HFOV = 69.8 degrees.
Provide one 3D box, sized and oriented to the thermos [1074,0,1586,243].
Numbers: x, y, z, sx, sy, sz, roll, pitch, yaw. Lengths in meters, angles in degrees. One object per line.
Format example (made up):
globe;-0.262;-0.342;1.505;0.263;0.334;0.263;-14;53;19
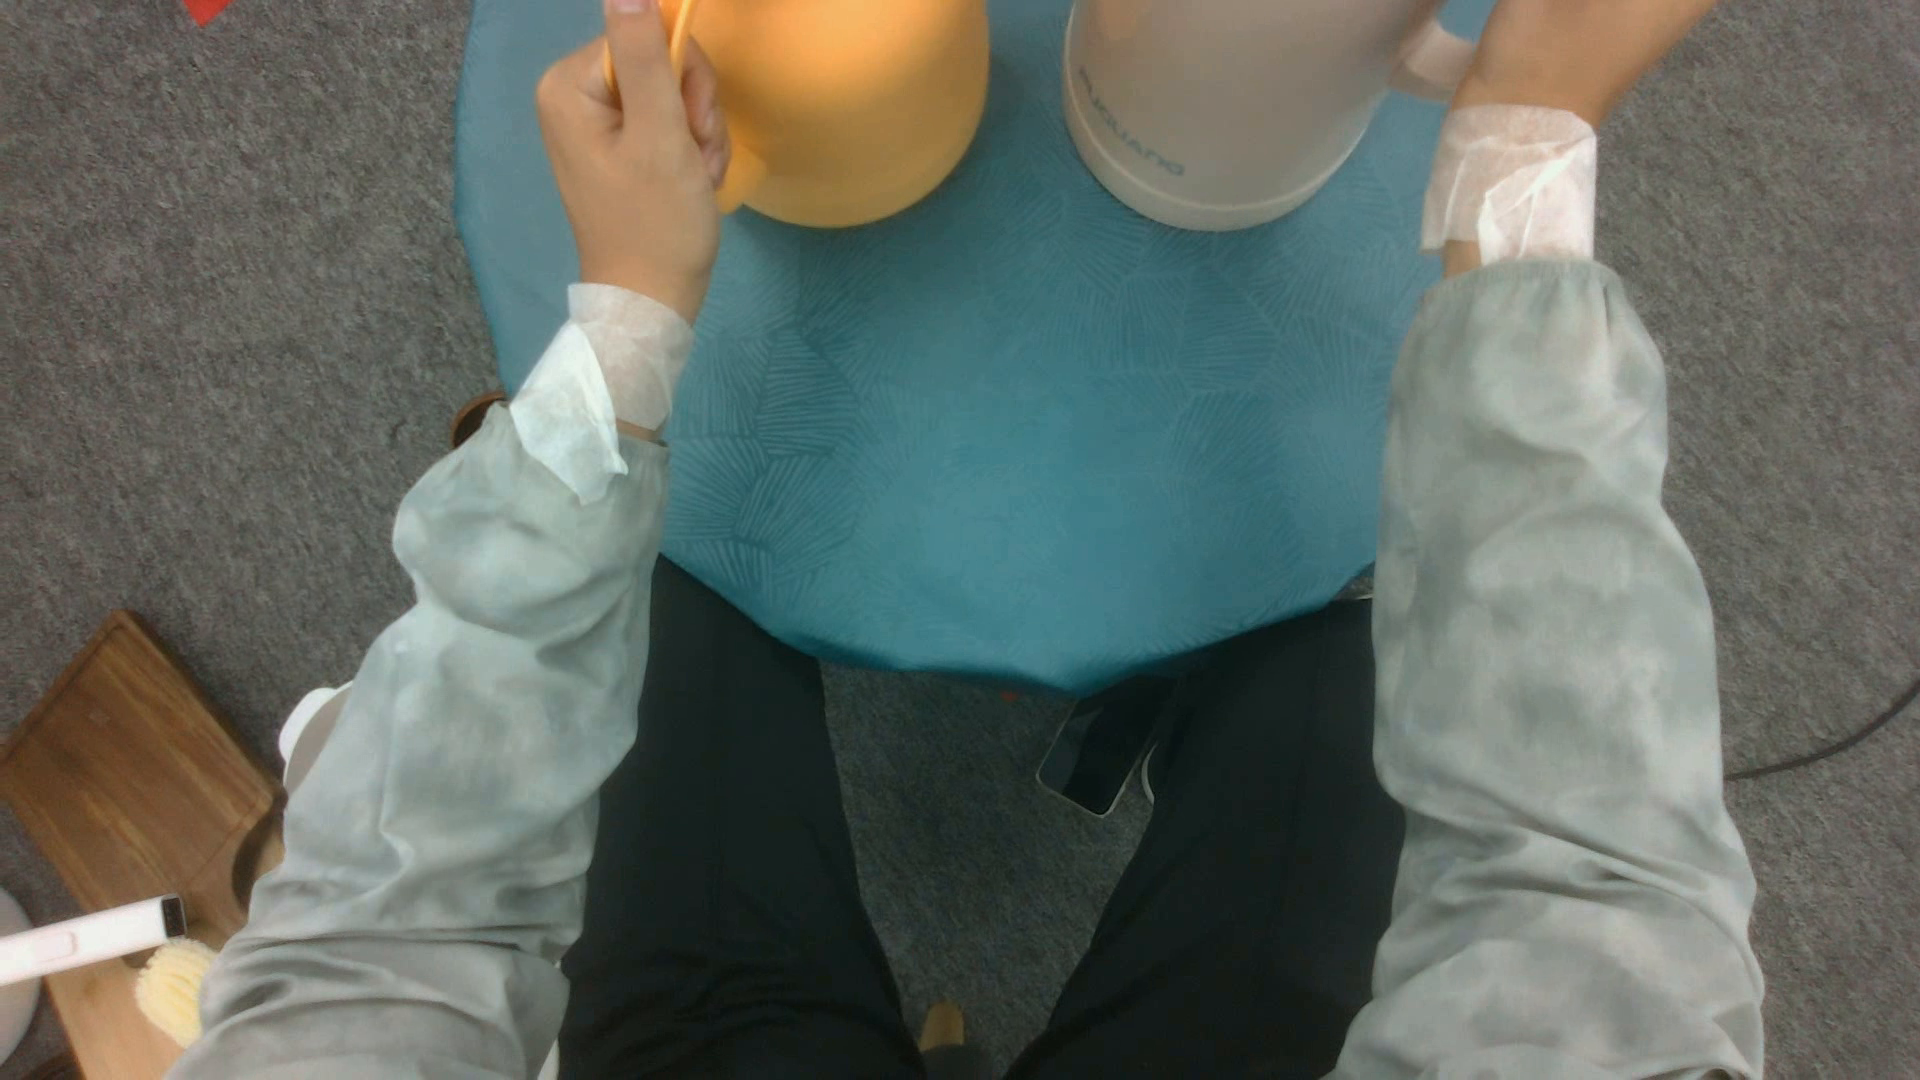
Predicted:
thermos;0.145;-0.251;0.542;0.207;0.405;0.175;39;84;6

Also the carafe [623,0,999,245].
carafe;-0.075;-0.231;0.616;0.163;0.260;0.202;25;82;8
